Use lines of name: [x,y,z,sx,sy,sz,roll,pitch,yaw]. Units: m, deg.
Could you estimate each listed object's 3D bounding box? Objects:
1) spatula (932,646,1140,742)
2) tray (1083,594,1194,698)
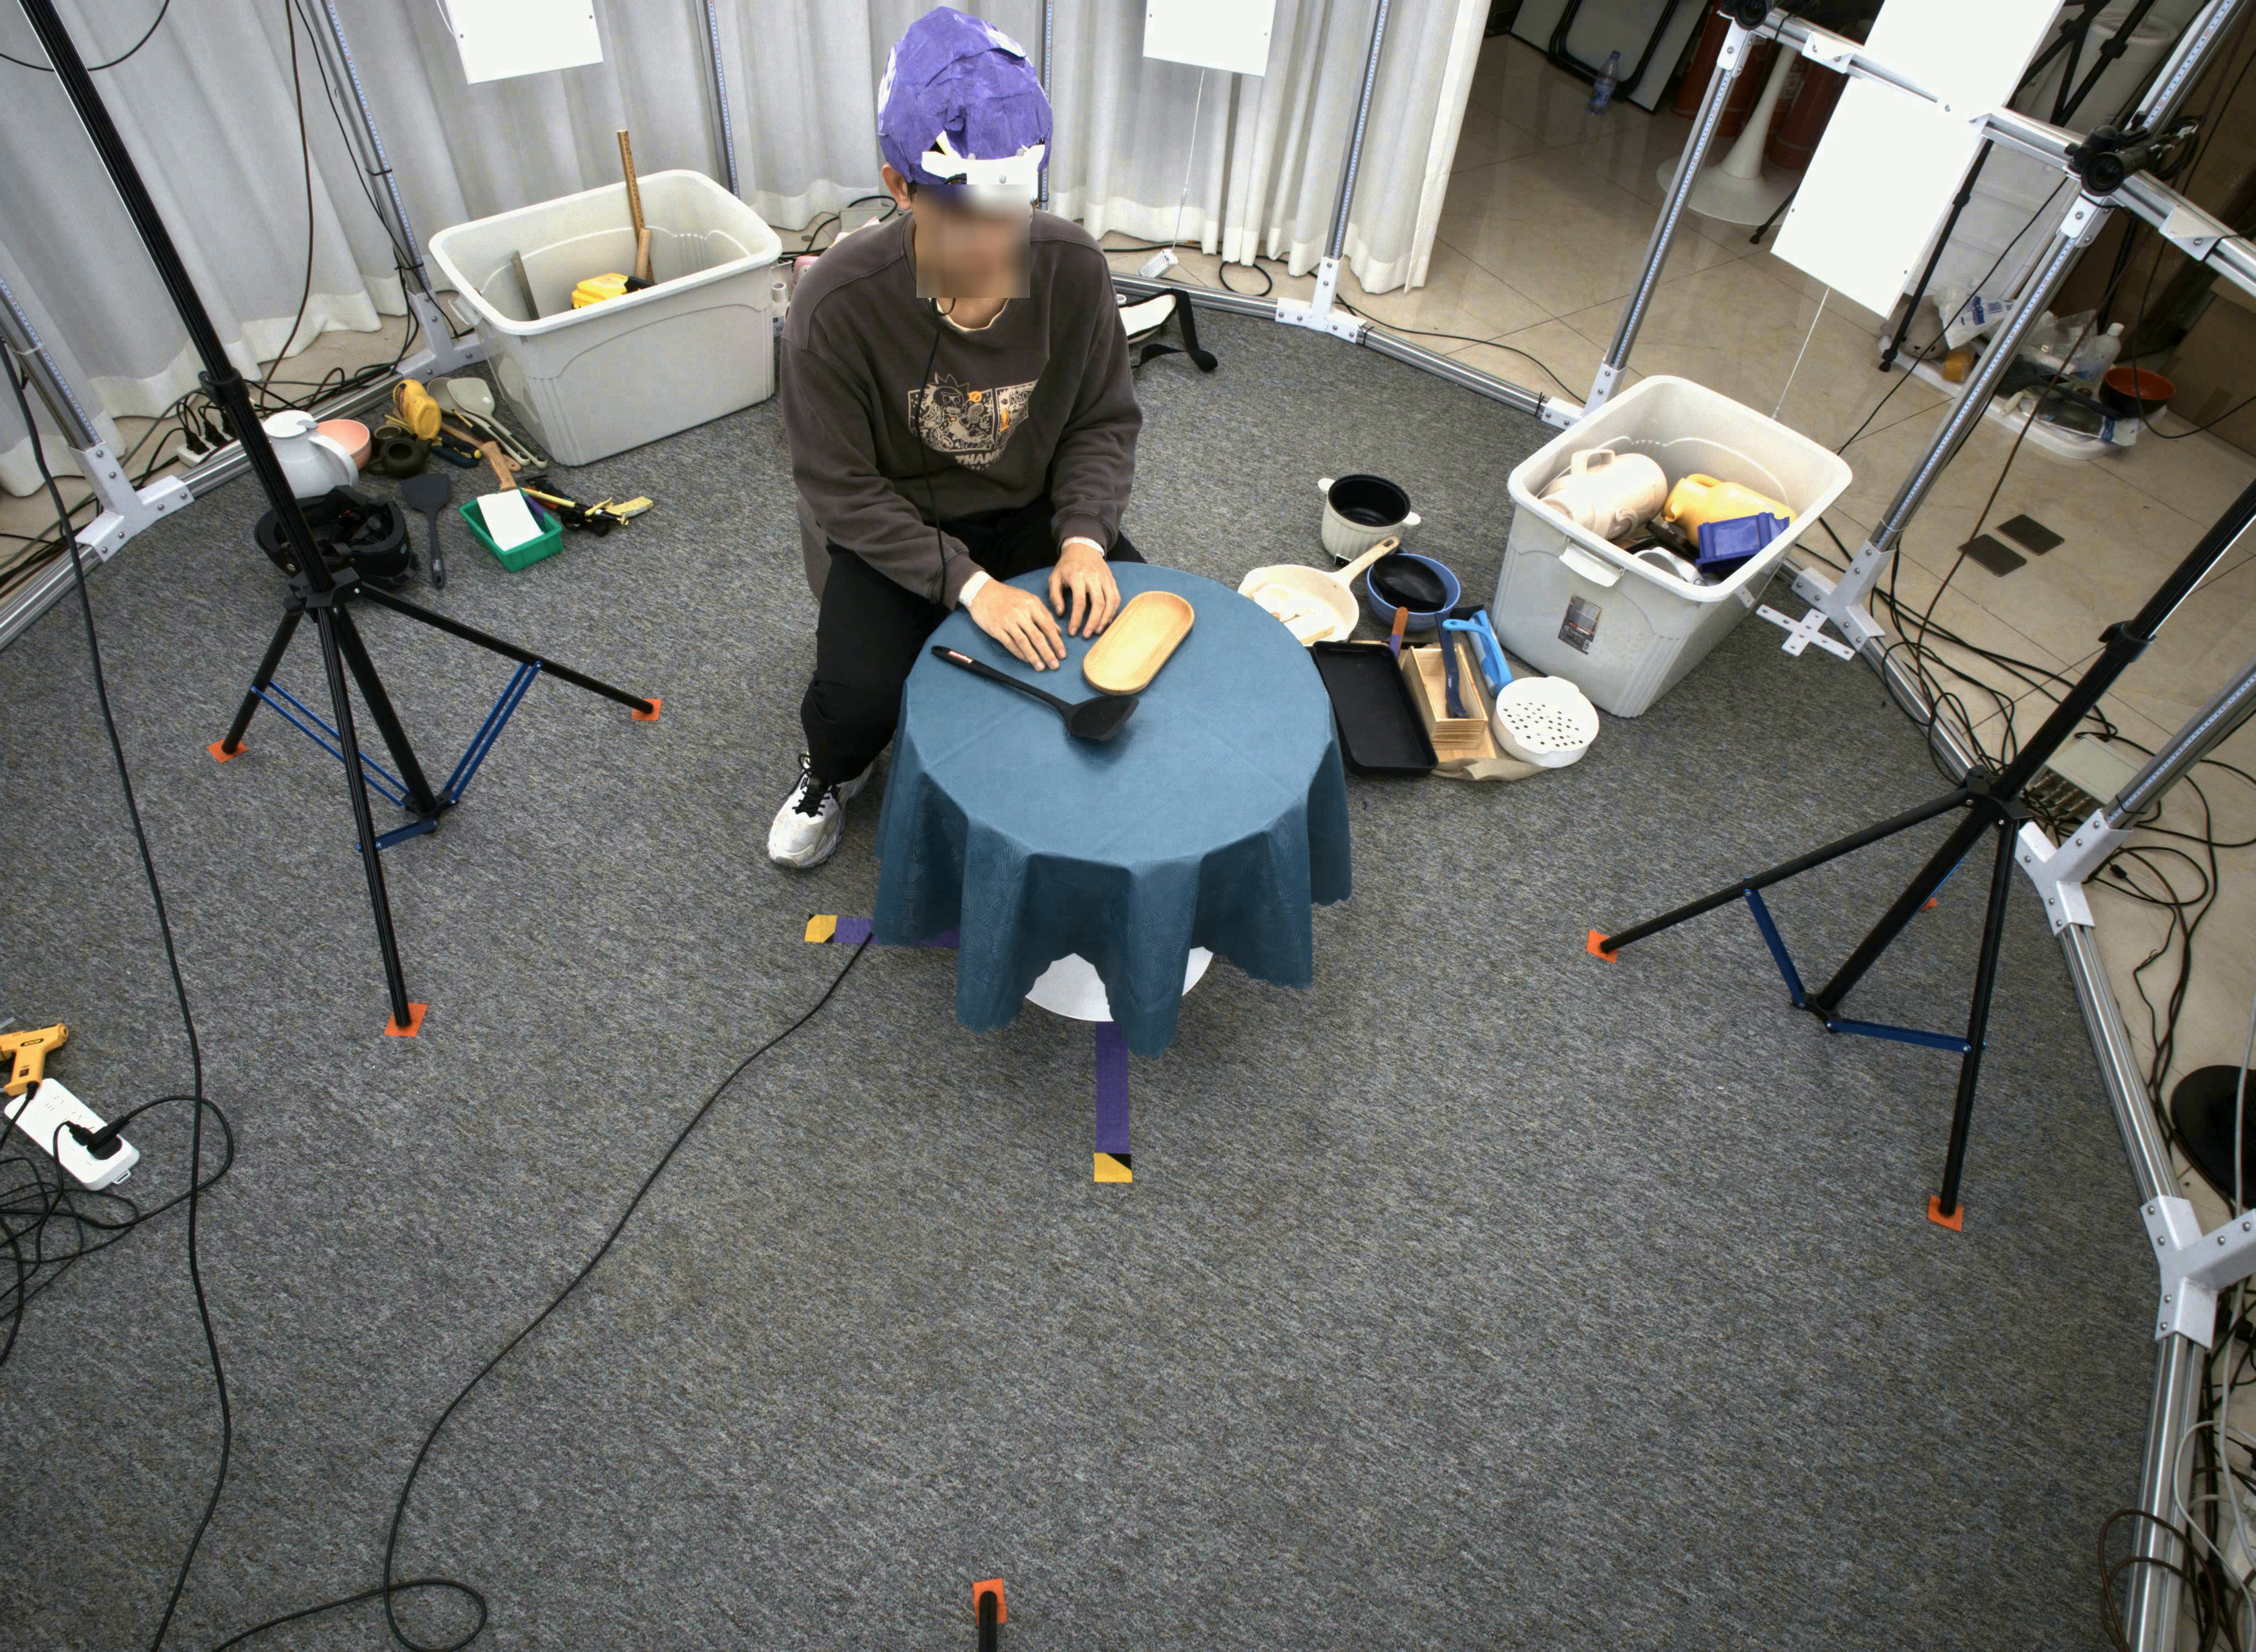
spatula: [-0.142,-0.198,1.806,0.329,0.039,0.101,26,51,18]
tray: [0.017,-0.267,1.889,0.102,0.020,0.235,23,52,16]
